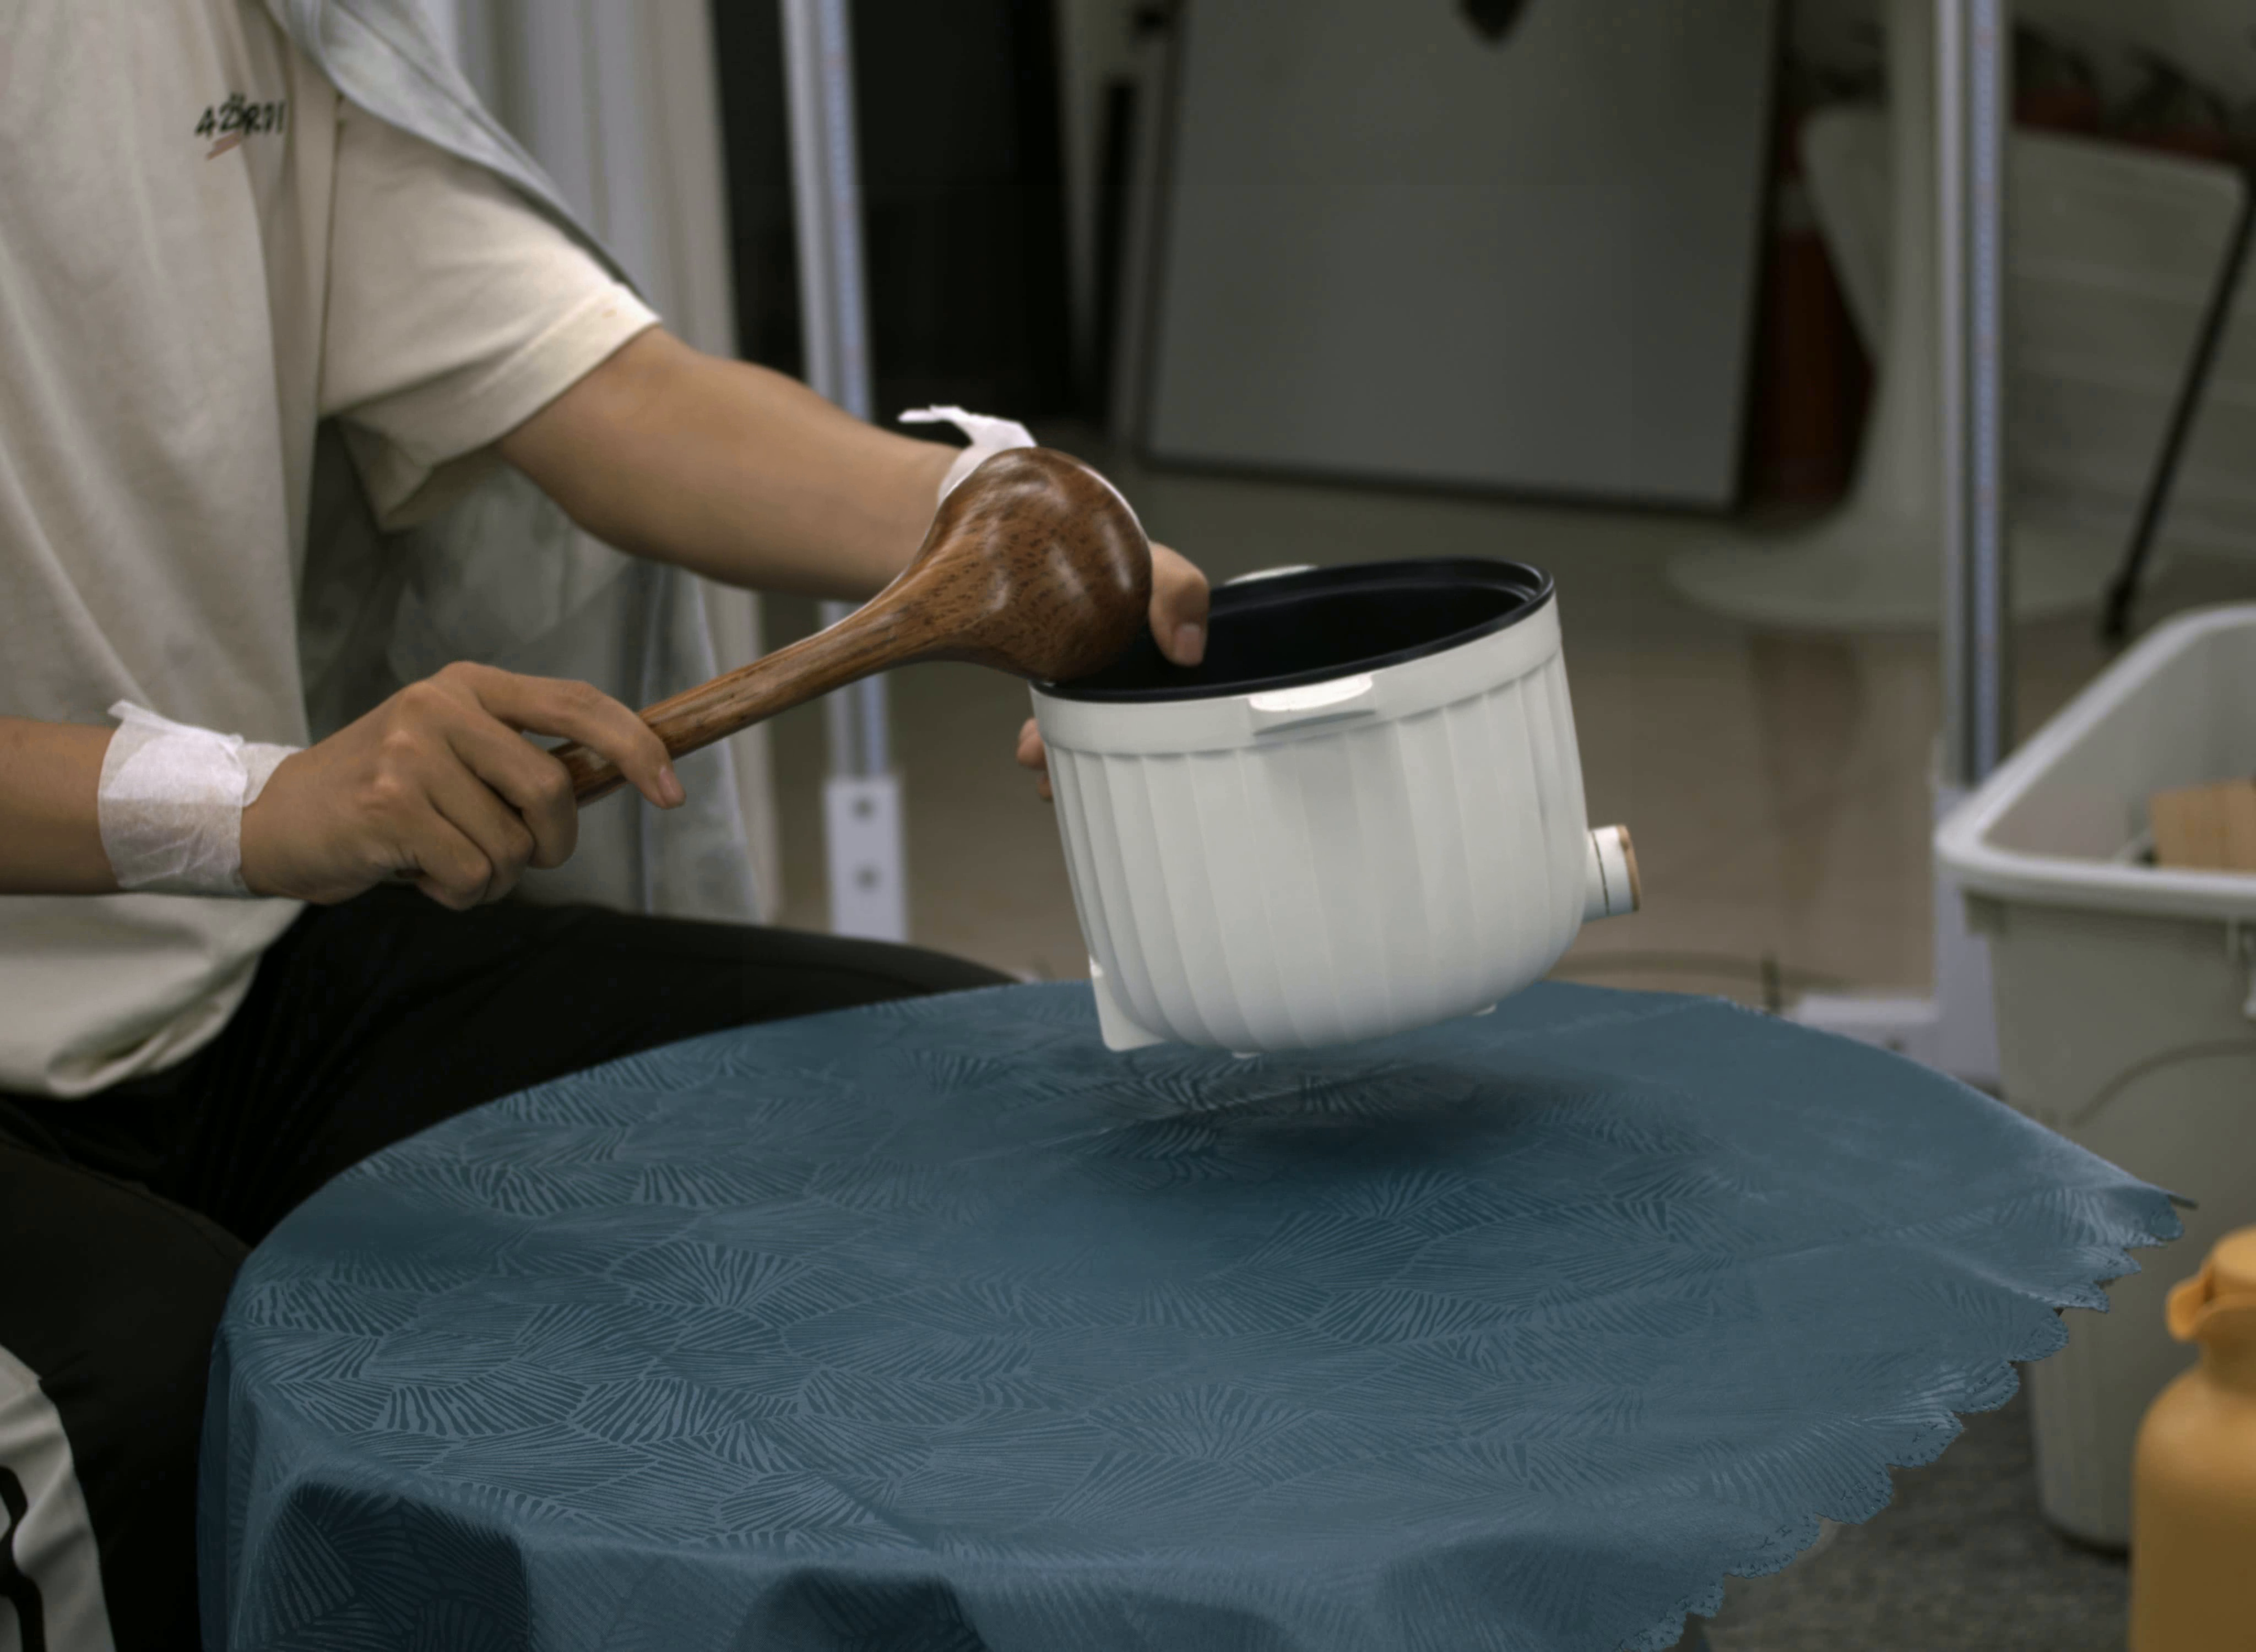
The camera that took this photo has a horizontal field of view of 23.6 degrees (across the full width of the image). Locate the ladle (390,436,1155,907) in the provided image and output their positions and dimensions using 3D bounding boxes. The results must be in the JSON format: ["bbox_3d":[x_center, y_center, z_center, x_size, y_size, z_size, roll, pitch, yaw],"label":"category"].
[{"bbox_3d":[-0.118,-0.045,1.806,0.273,0.083,0.076,-26,-8,14],"label":"ladle"}]

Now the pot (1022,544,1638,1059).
[{"bbox_3d":[0.070,-0.008,1.823,0.188,0.144,0.241,-14,13,1],"label":"pot"}]
